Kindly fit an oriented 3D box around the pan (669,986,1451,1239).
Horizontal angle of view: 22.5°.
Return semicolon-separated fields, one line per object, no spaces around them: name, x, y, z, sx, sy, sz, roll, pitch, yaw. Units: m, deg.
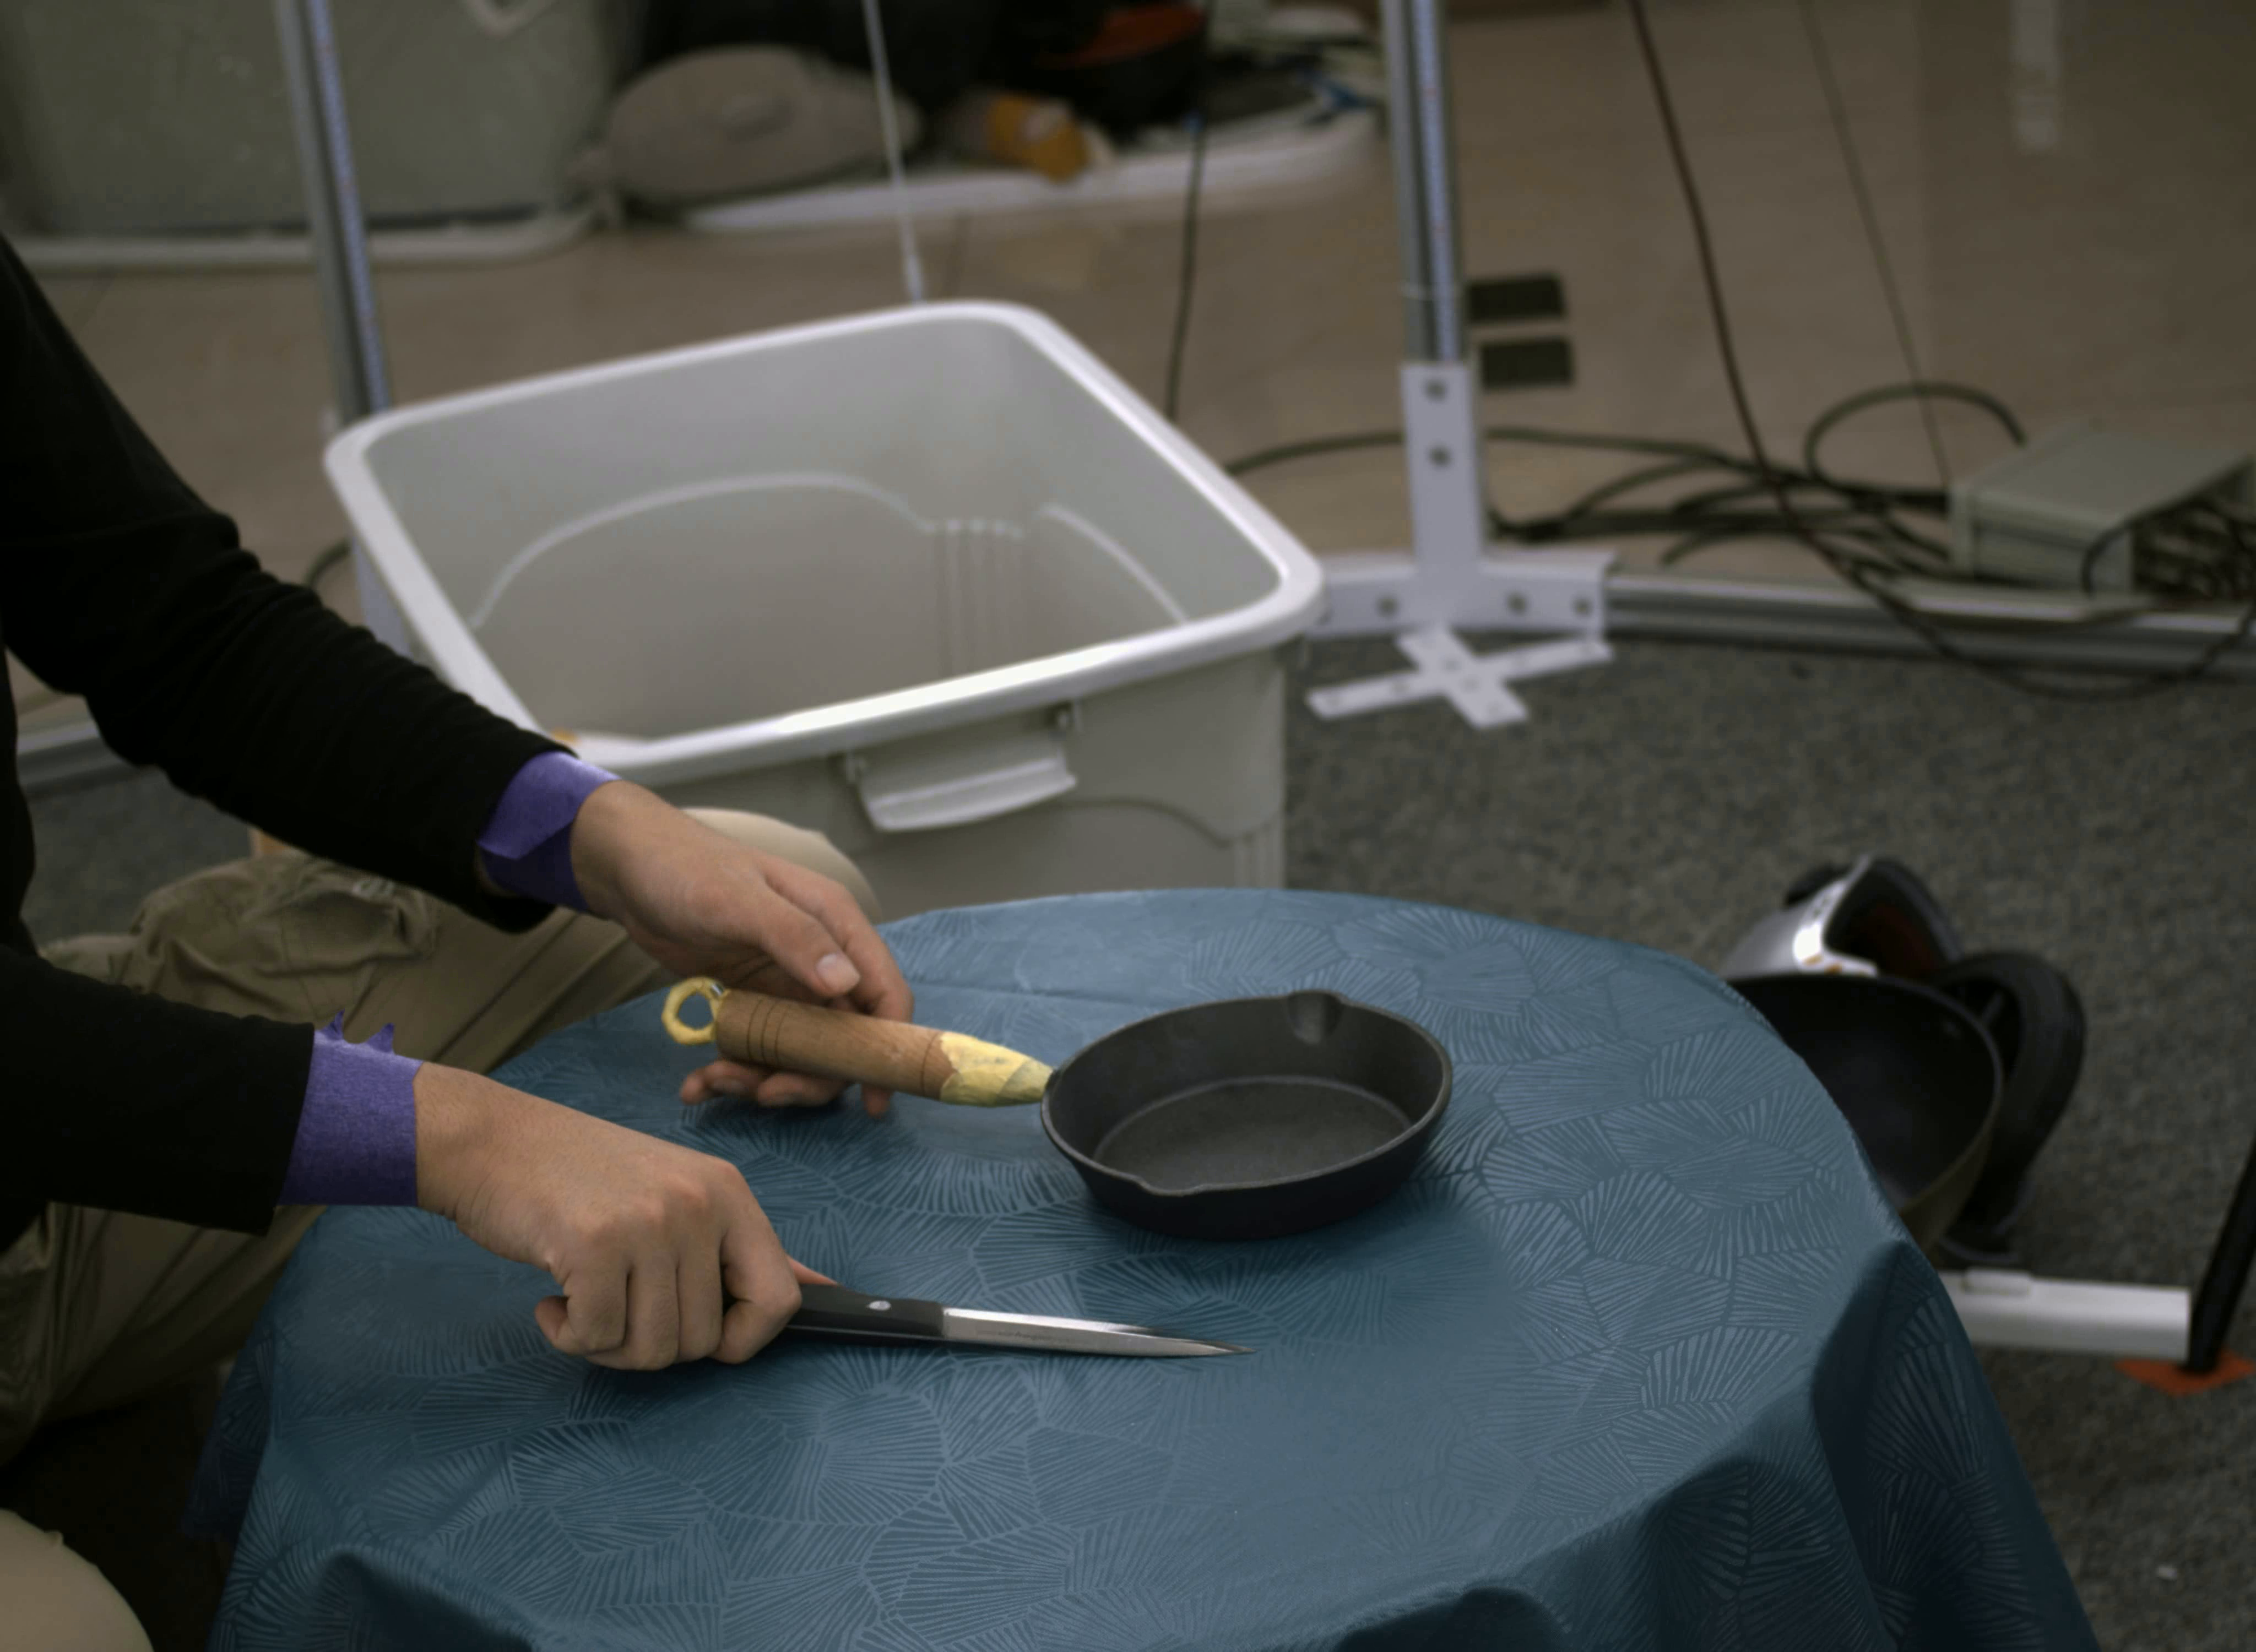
pan;-0.031;0.101;2.185;0.323;0.050;0.167;5;27;25

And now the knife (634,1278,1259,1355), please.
knife;-0.069;0.182;2.062;0.237;0.016;0.024;3;25;14
